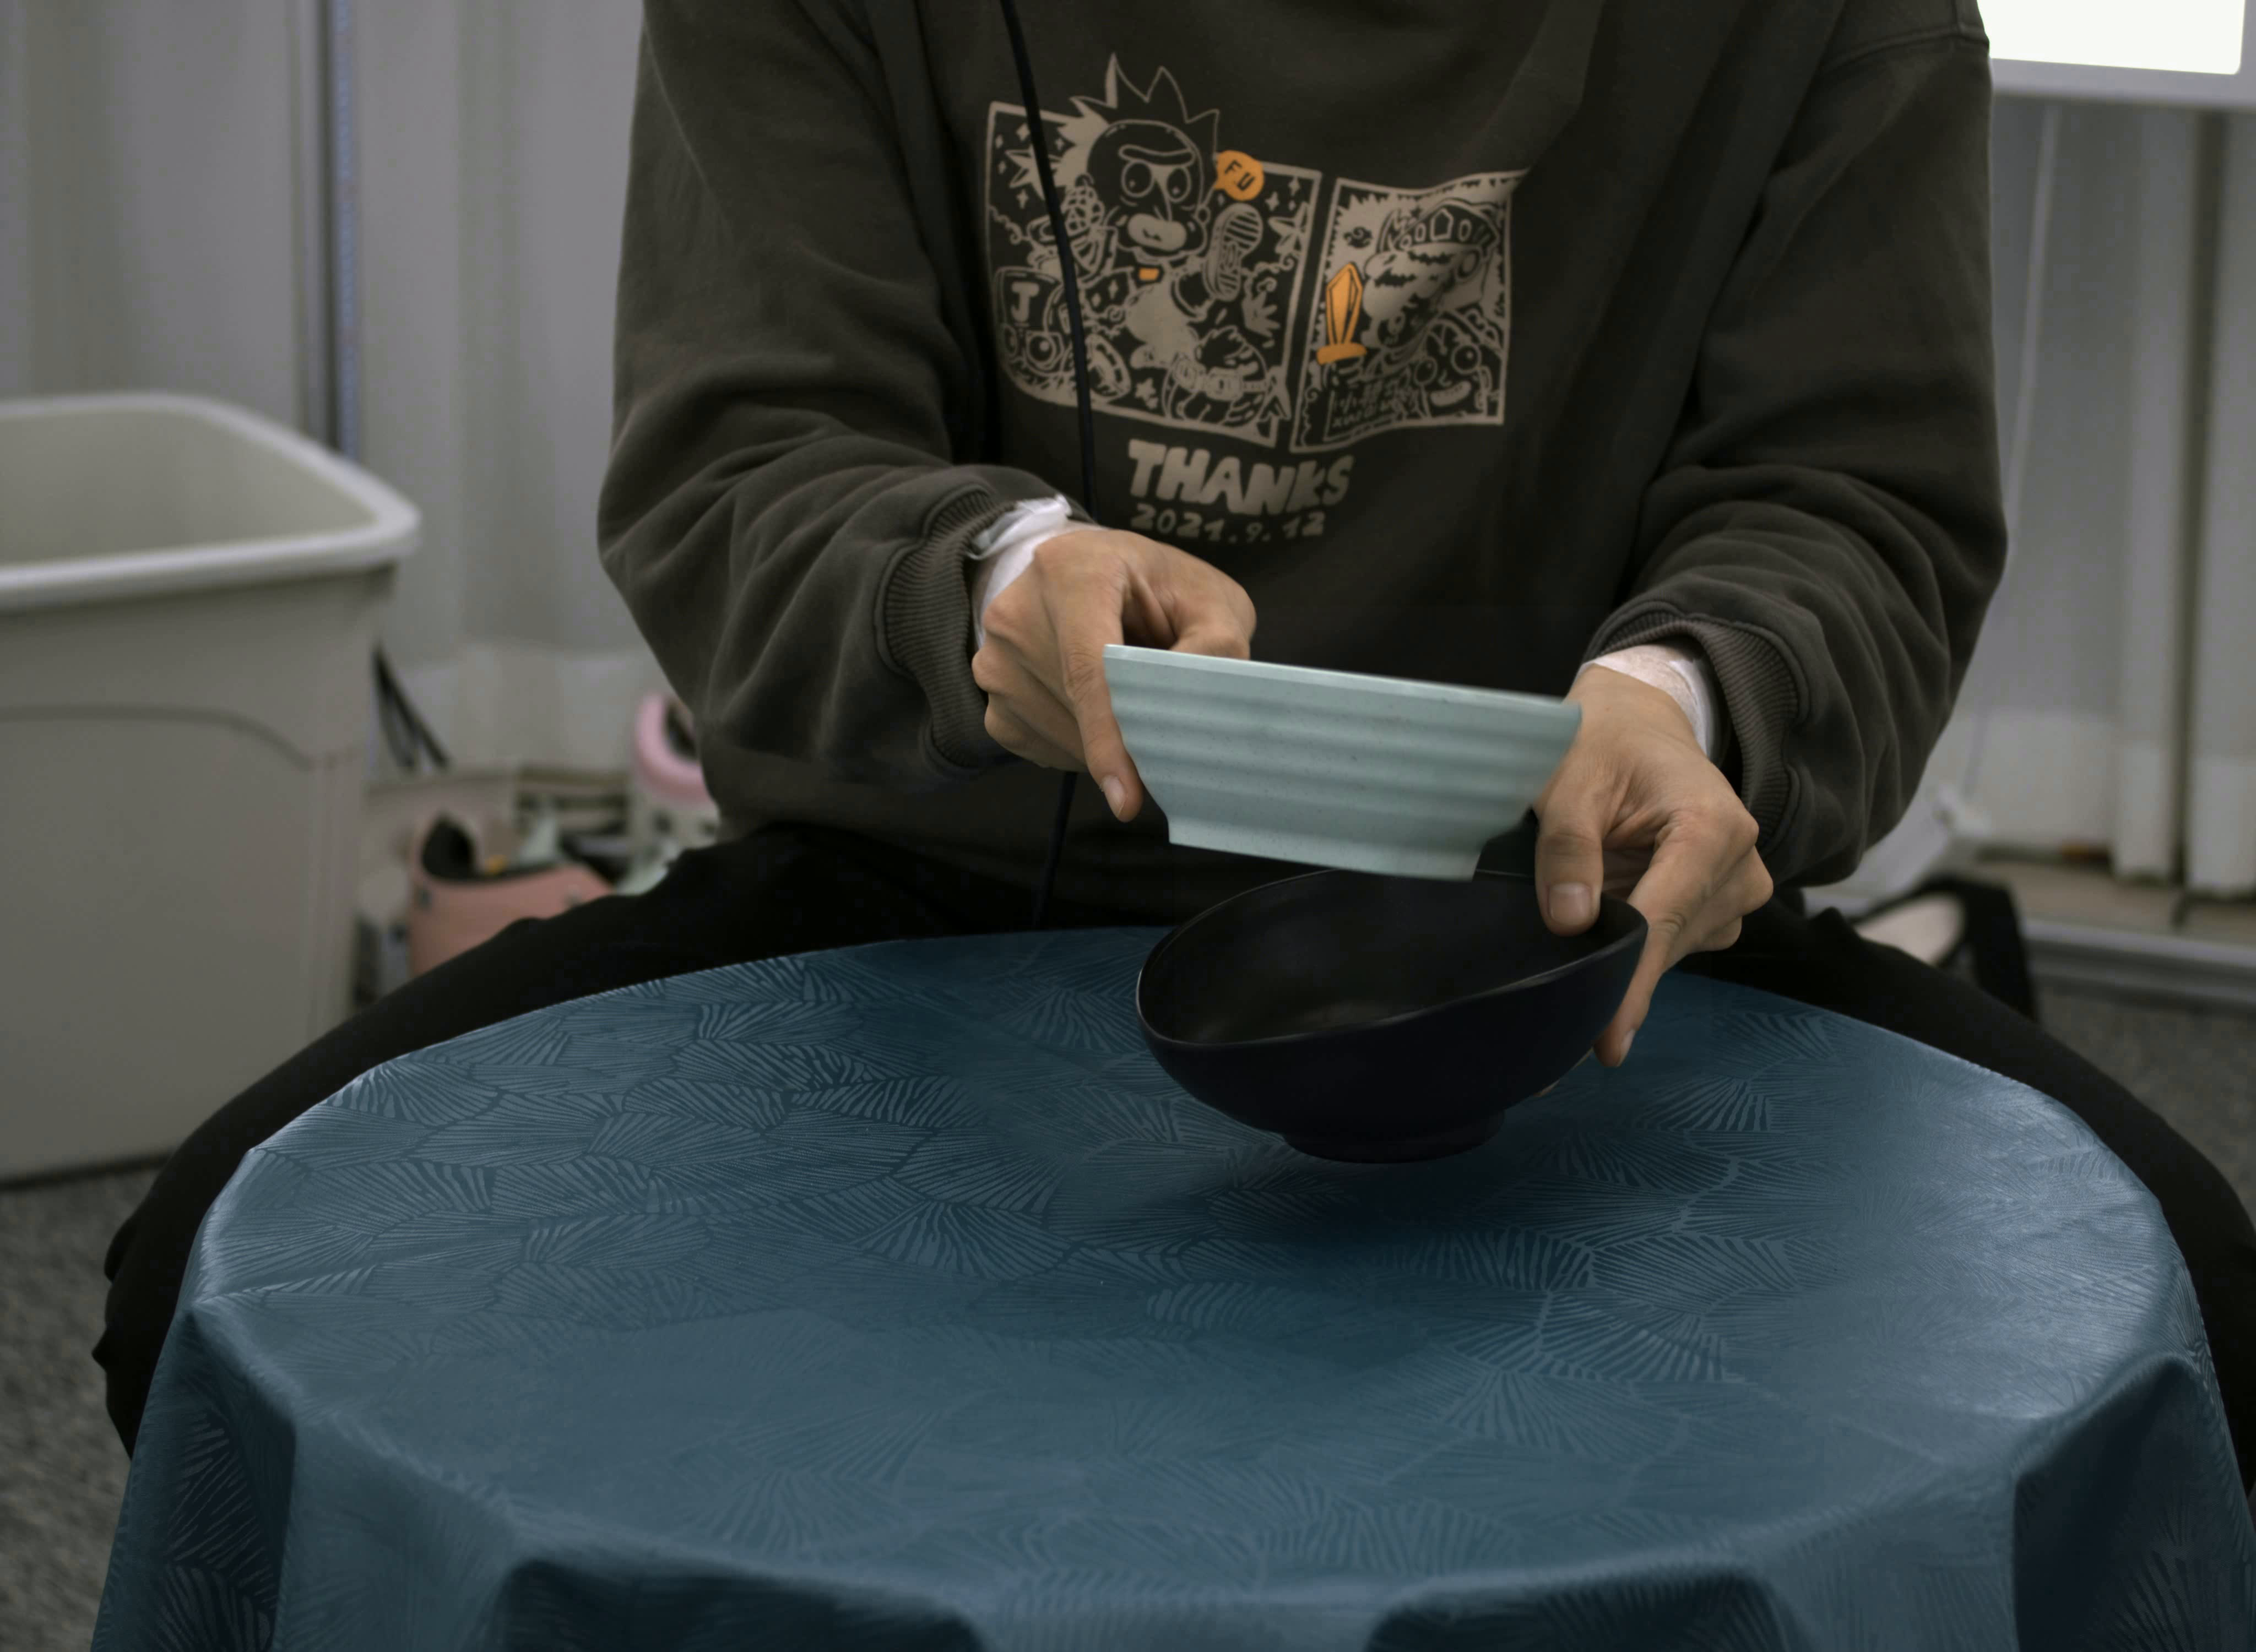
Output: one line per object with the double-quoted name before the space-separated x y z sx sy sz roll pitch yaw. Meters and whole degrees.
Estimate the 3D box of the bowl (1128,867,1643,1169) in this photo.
"bowl" 0.081 0.064 1.616 0.171 0.067 0.135 -16 20 -36

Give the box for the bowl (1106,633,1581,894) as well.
"bowl" 0.061 -0.017 1.596 0.151 0.059 0.151 11 3 0
